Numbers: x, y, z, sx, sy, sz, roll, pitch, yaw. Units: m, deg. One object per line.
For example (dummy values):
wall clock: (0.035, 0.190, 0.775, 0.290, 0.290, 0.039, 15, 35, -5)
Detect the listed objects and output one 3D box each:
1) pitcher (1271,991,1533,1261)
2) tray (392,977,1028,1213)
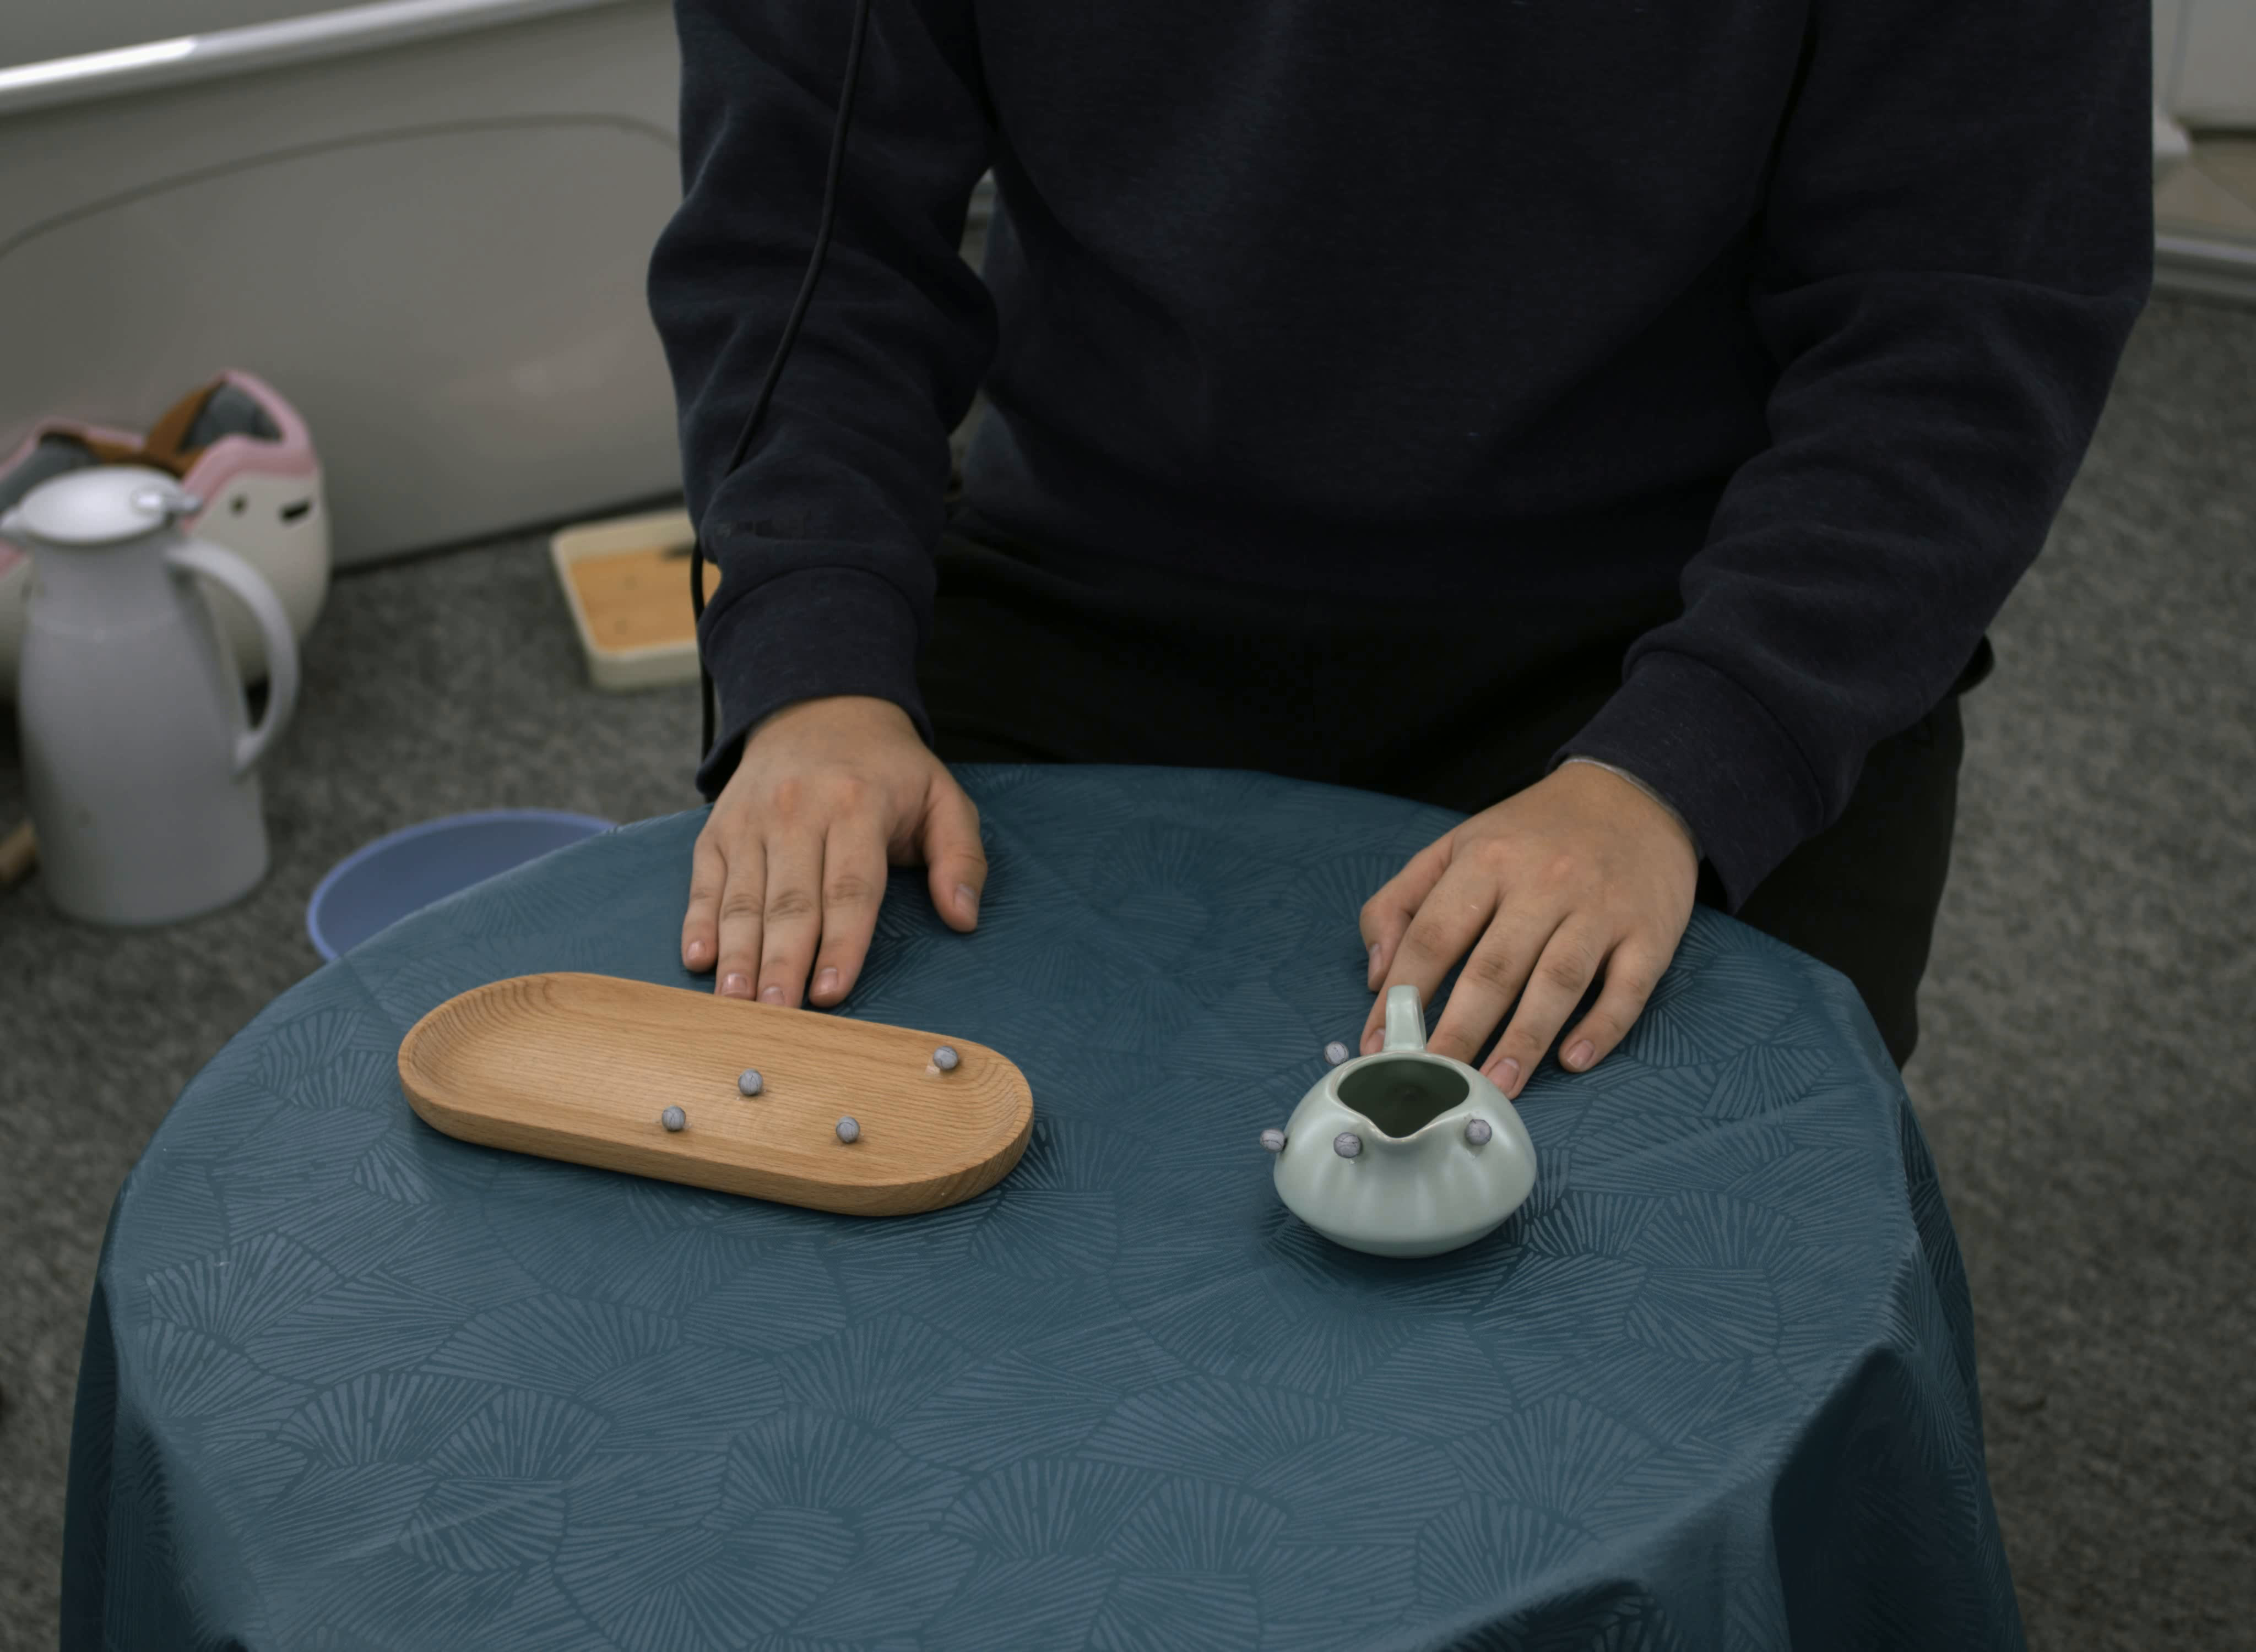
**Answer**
pitcher: (0.089, 0.100, 1.840, 0.085, 0.060, 0.109, -1, 25, 2)
tray: (-0.143, 0.092, 1.918, 0.229, 0.020, 0.103, 7, 28, 22)
